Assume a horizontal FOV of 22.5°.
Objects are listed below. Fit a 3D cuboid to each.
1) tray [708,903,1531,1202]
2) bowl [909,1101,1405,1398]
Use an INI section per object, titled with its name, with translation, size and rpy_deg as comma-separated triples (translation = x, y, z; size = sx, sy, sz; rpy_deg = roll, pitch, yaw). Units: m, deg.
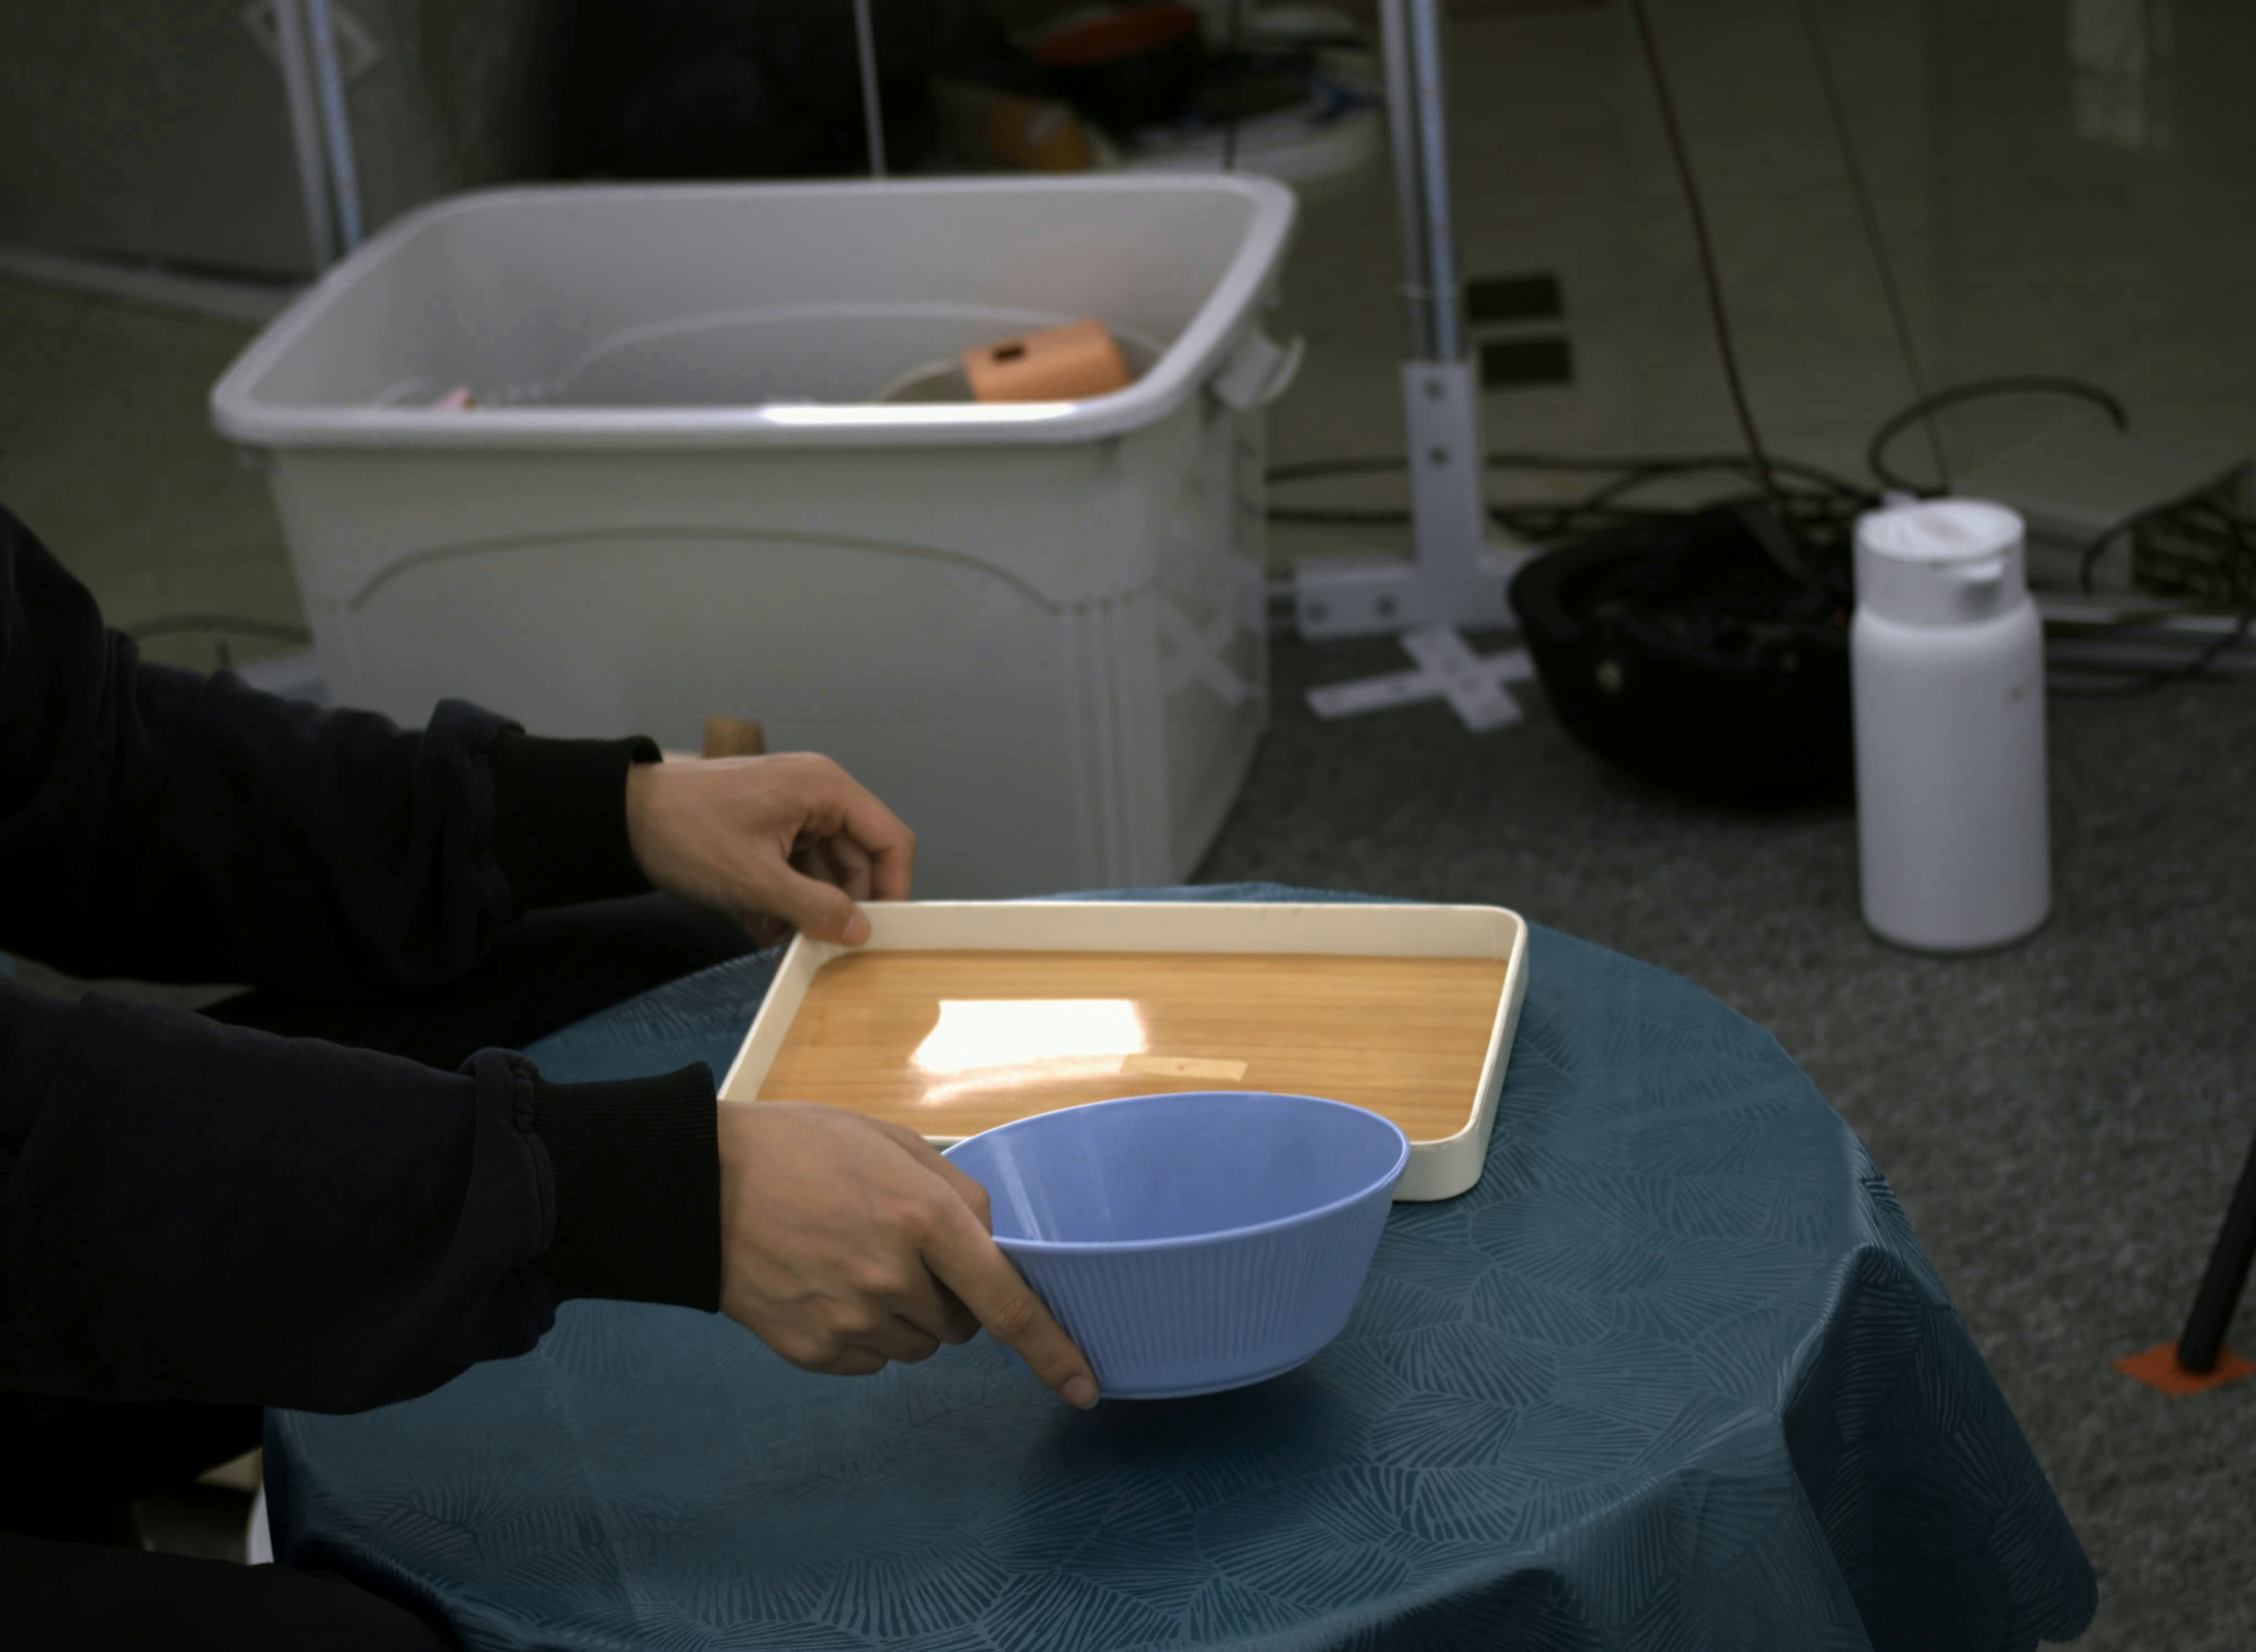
[tray]
translation = 0.000, 0.087, 2.220
size = 0.299, 0.028, 0.188
rpy_deg = 1, 28, 12
[bowl]
translation = 0.012, 0.151, 1.992
size = 0.176, 0.071, 0.174
rpy_deg = -4, 13, 1
